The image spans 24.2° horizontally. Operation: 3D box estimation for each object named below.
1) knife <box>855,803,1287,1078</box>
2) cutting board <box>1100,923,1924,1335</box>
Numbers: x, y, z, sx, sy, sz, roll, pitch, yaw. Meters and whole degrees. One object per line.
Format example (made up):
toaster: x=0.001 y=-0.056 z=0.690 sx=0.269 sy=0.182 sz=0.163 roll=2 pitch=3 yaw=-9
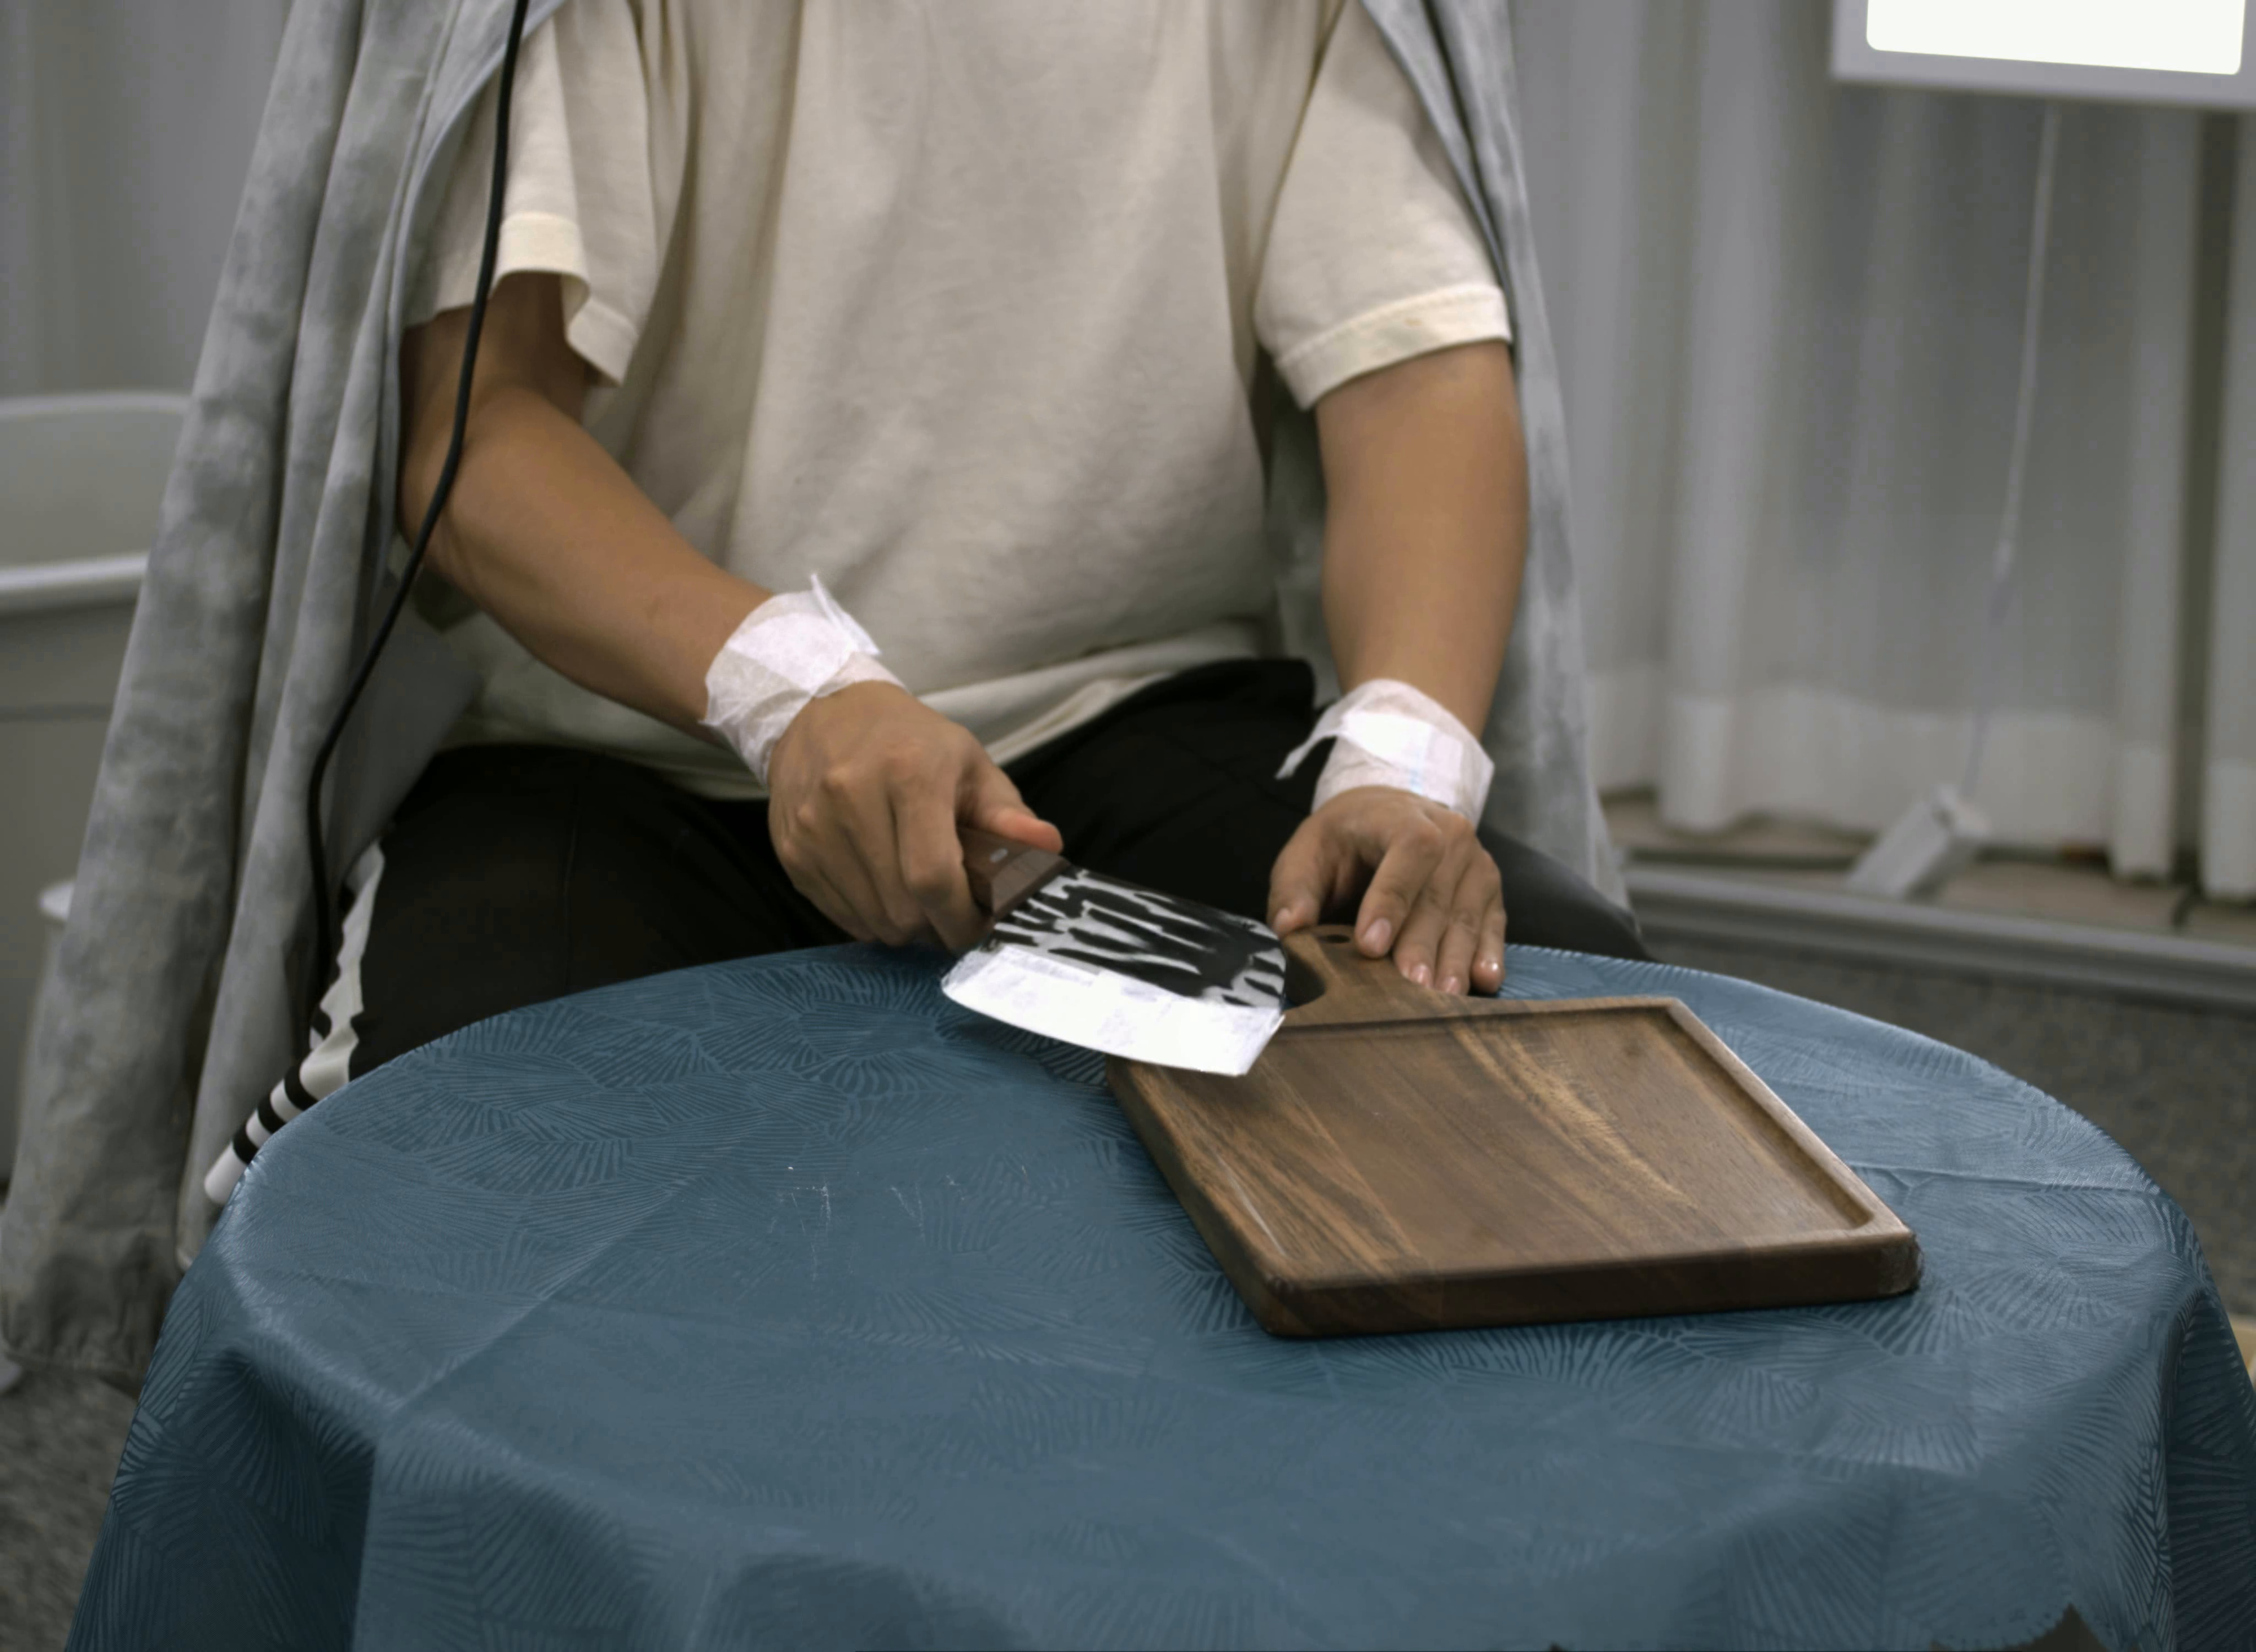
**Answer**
knife: x=-0.028 y=0.038 z=1.772 sx=0.068 sy=0.024 sz=0.296 roll=-43 pitch=29 yaw=-18
cutting board: x=0.102 y=0.088 z=1.679 sx=0.201 sy=0.023 sz=0.349 roll=-3 pitch=15 yaw=-12
